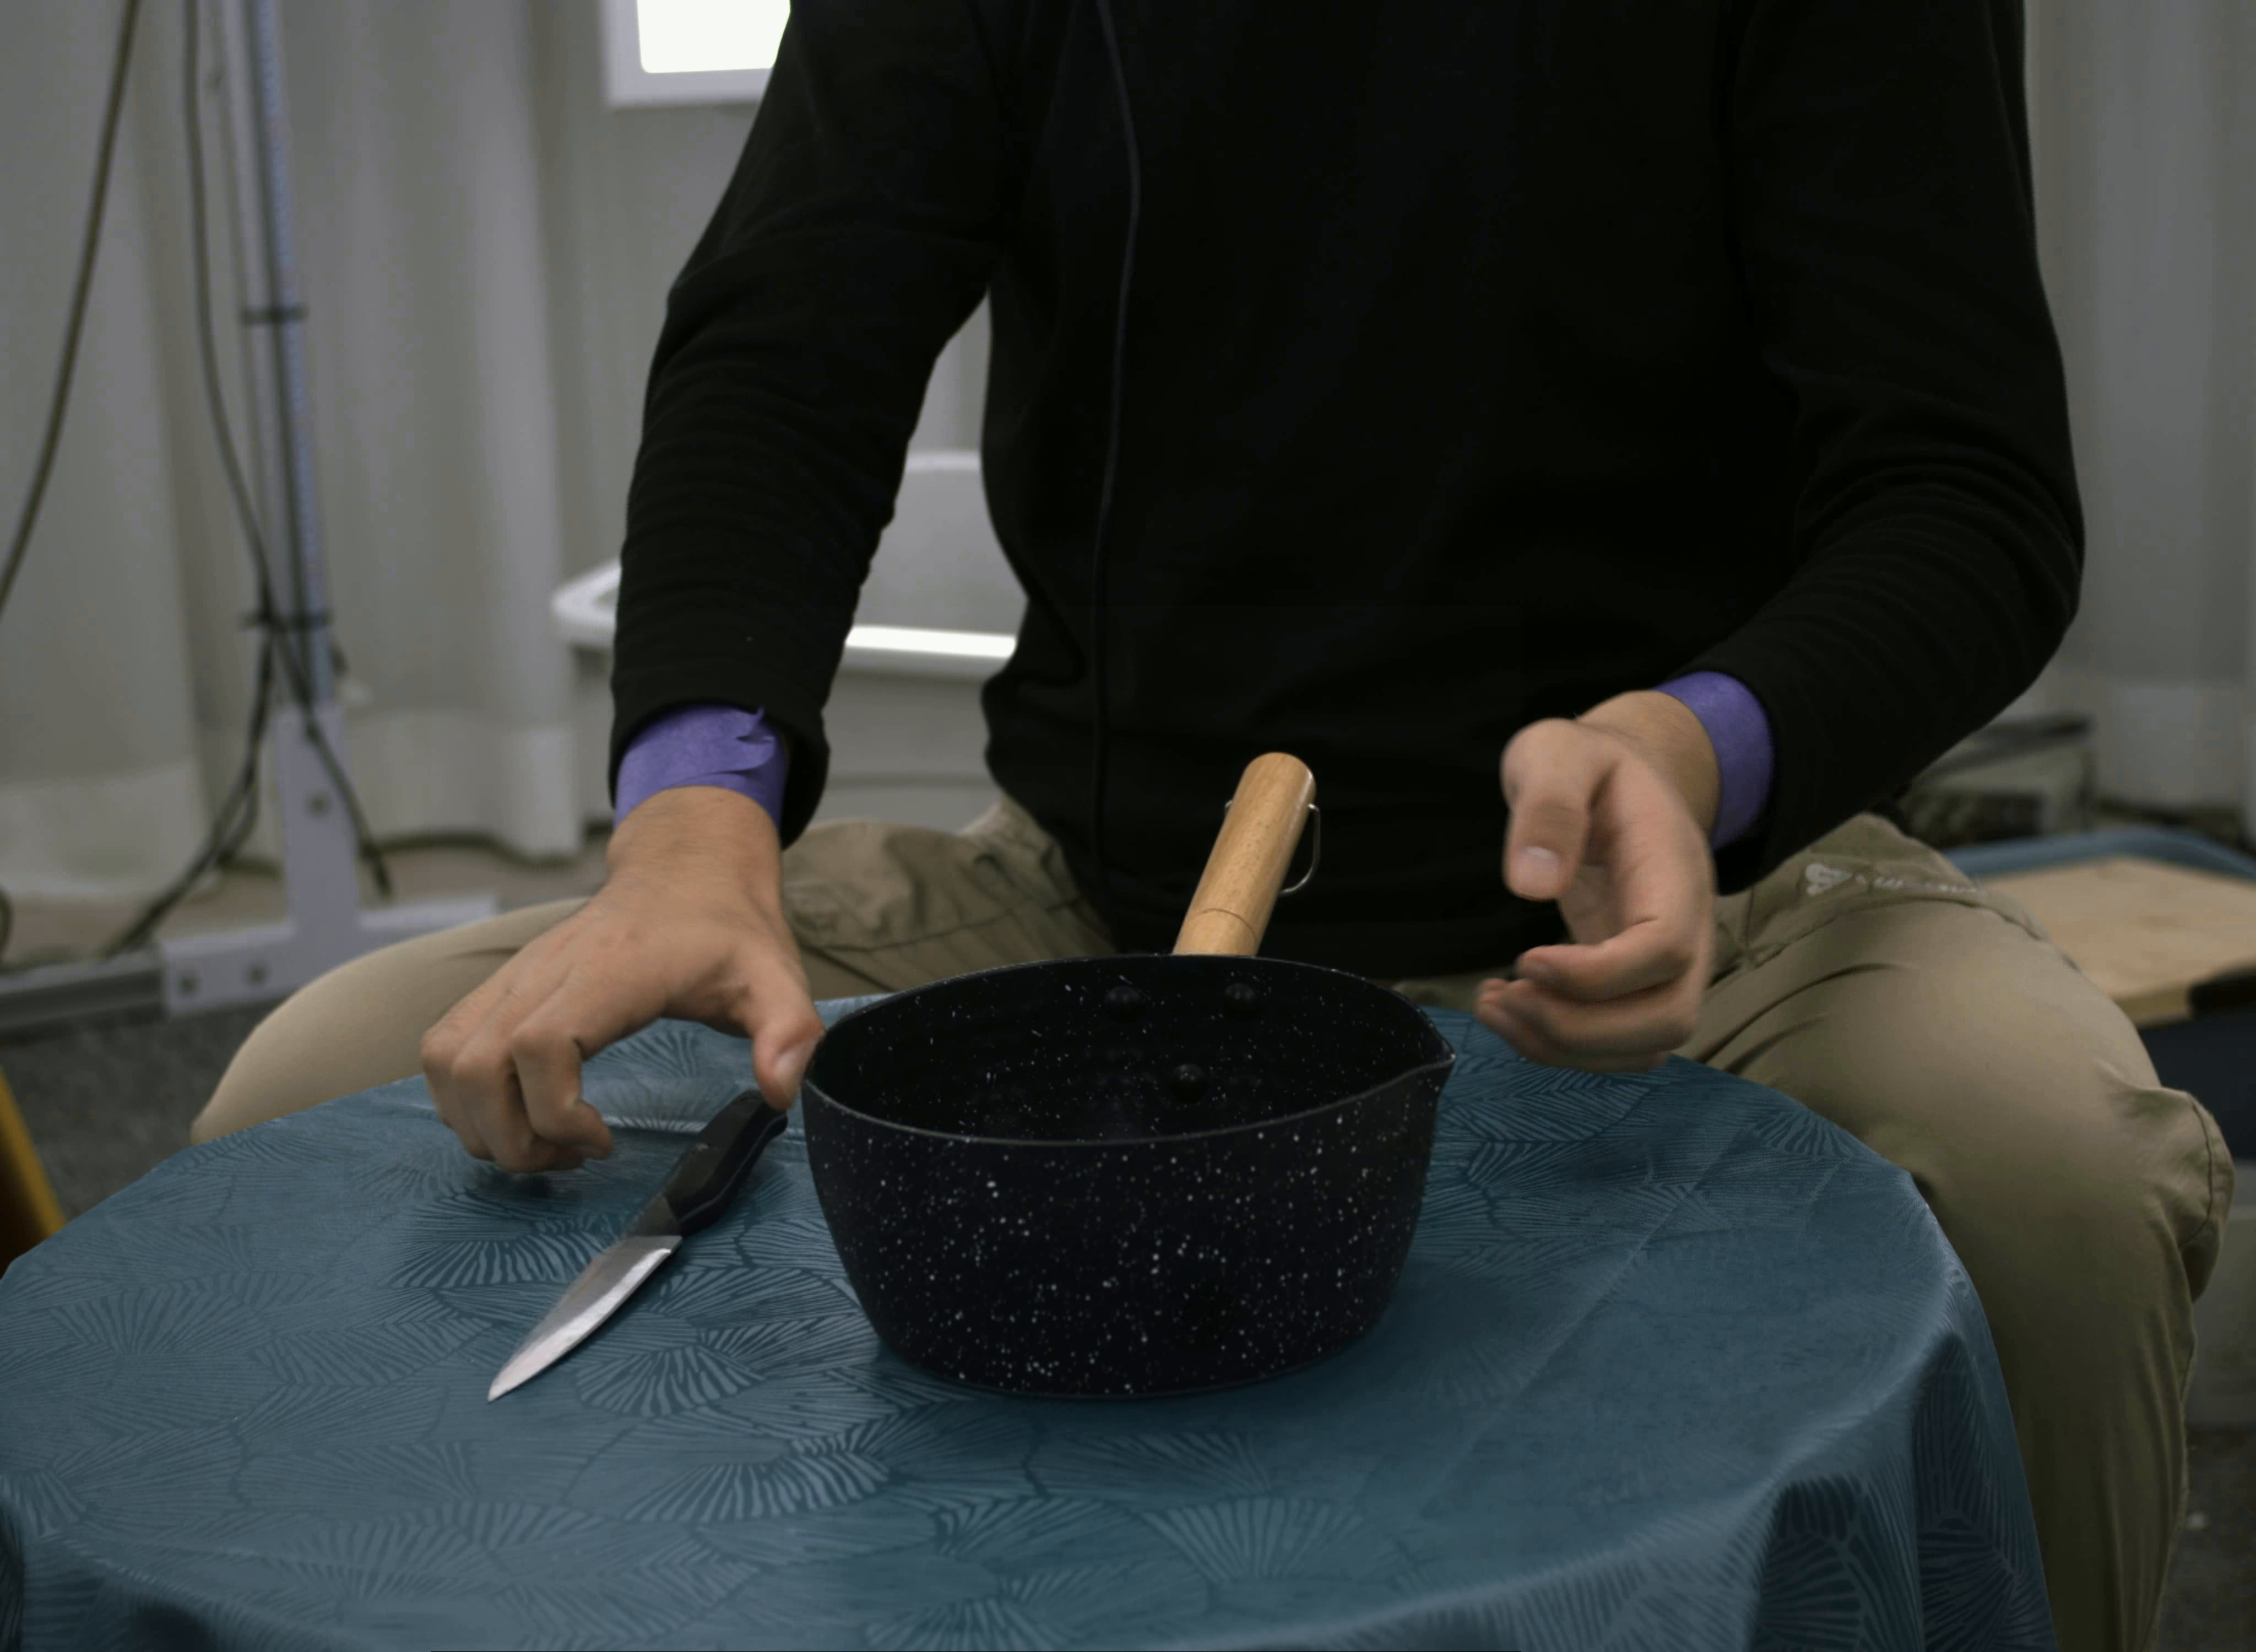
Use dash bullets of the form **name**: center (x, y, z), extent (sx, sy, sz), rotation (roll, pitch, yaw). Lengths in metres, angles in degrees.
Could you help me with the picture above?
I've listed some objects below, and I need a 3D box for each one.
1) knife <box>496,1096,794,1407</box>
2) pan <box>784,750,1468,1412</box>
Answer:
- **knife**: center (-0.149, 0.129, 1.669), extent (0.024, 0.016, 0.239), rotation (3, 19, 15)
- **pan**: center (0.015, 0.072, 1.667), extent (0.207, 0.108, 0.344), rotation (0, 16, 13)
